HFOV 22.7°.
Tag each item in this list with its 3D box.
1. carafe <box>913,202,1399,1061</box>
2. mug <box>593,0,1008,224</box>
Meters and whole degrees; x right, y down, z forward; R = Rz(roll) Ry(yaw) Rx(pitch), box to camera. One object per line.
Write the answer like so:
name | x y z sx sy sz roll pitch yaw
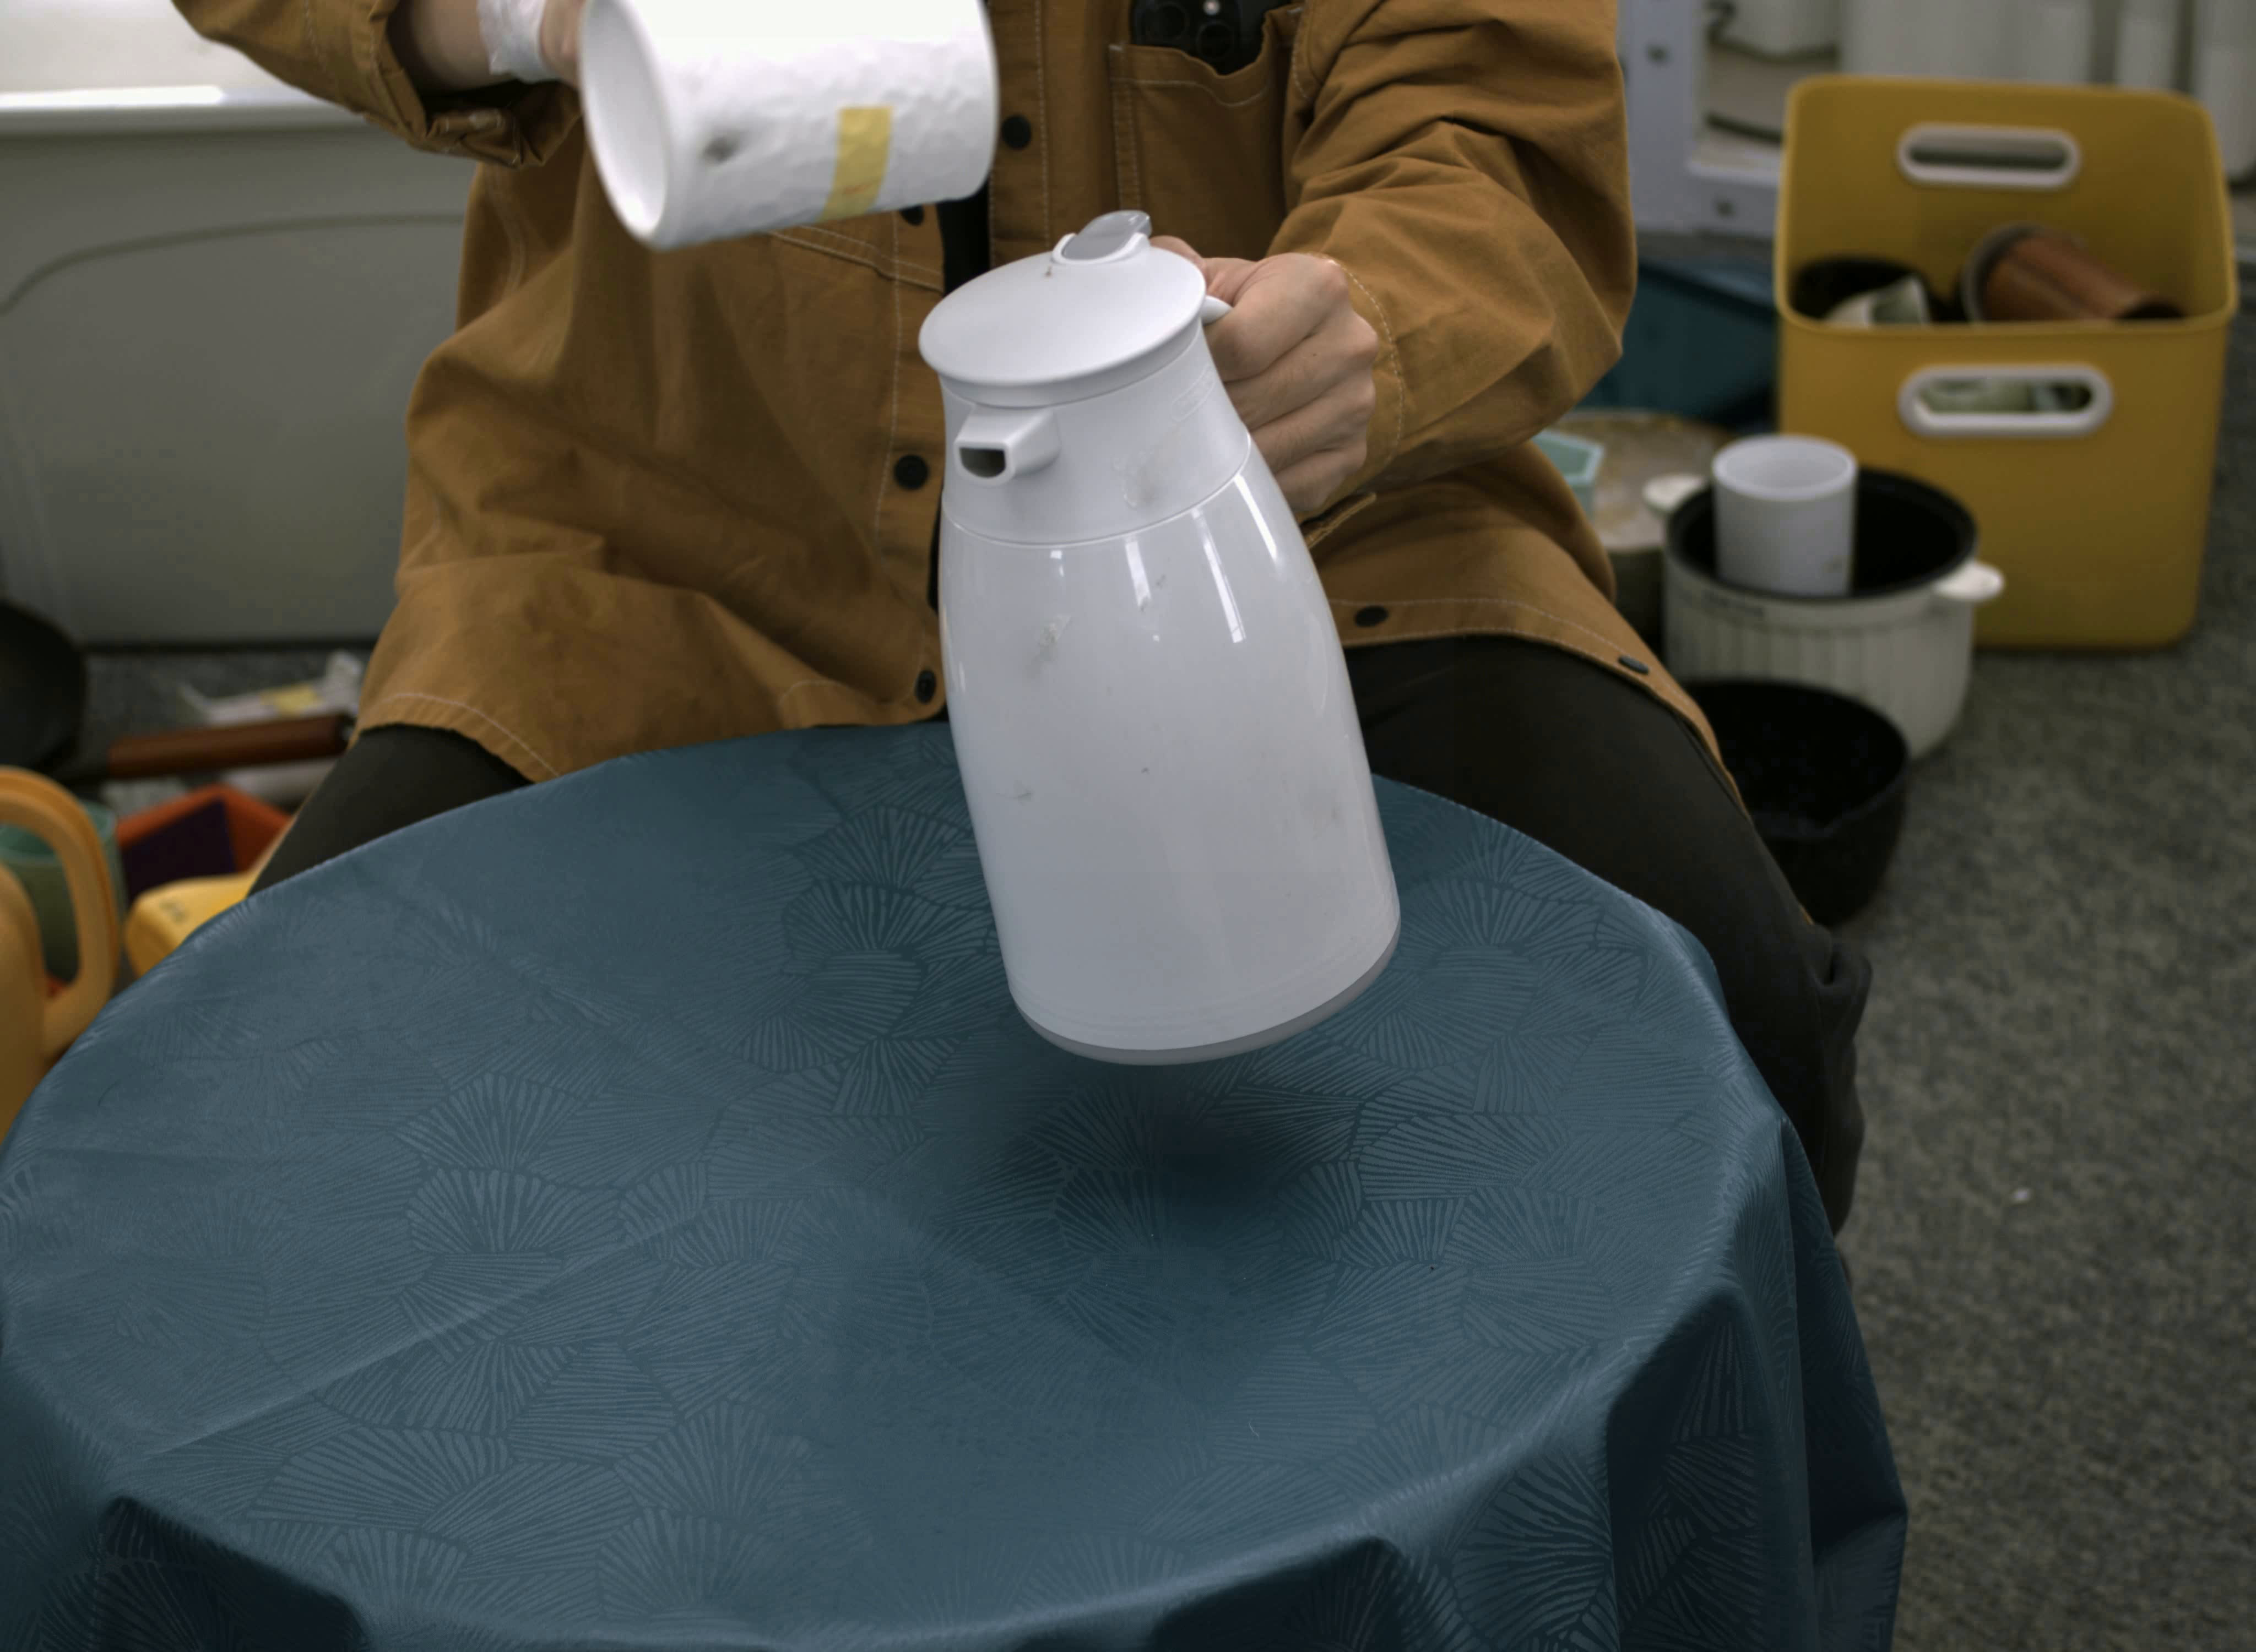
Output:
carafe | 0.007 -0.073 1.817 0.131 0.246 0.171 2 31 27
mug | -0.105 -0.233 1.691 0.102 0.084 0.119 -10 32 -23
